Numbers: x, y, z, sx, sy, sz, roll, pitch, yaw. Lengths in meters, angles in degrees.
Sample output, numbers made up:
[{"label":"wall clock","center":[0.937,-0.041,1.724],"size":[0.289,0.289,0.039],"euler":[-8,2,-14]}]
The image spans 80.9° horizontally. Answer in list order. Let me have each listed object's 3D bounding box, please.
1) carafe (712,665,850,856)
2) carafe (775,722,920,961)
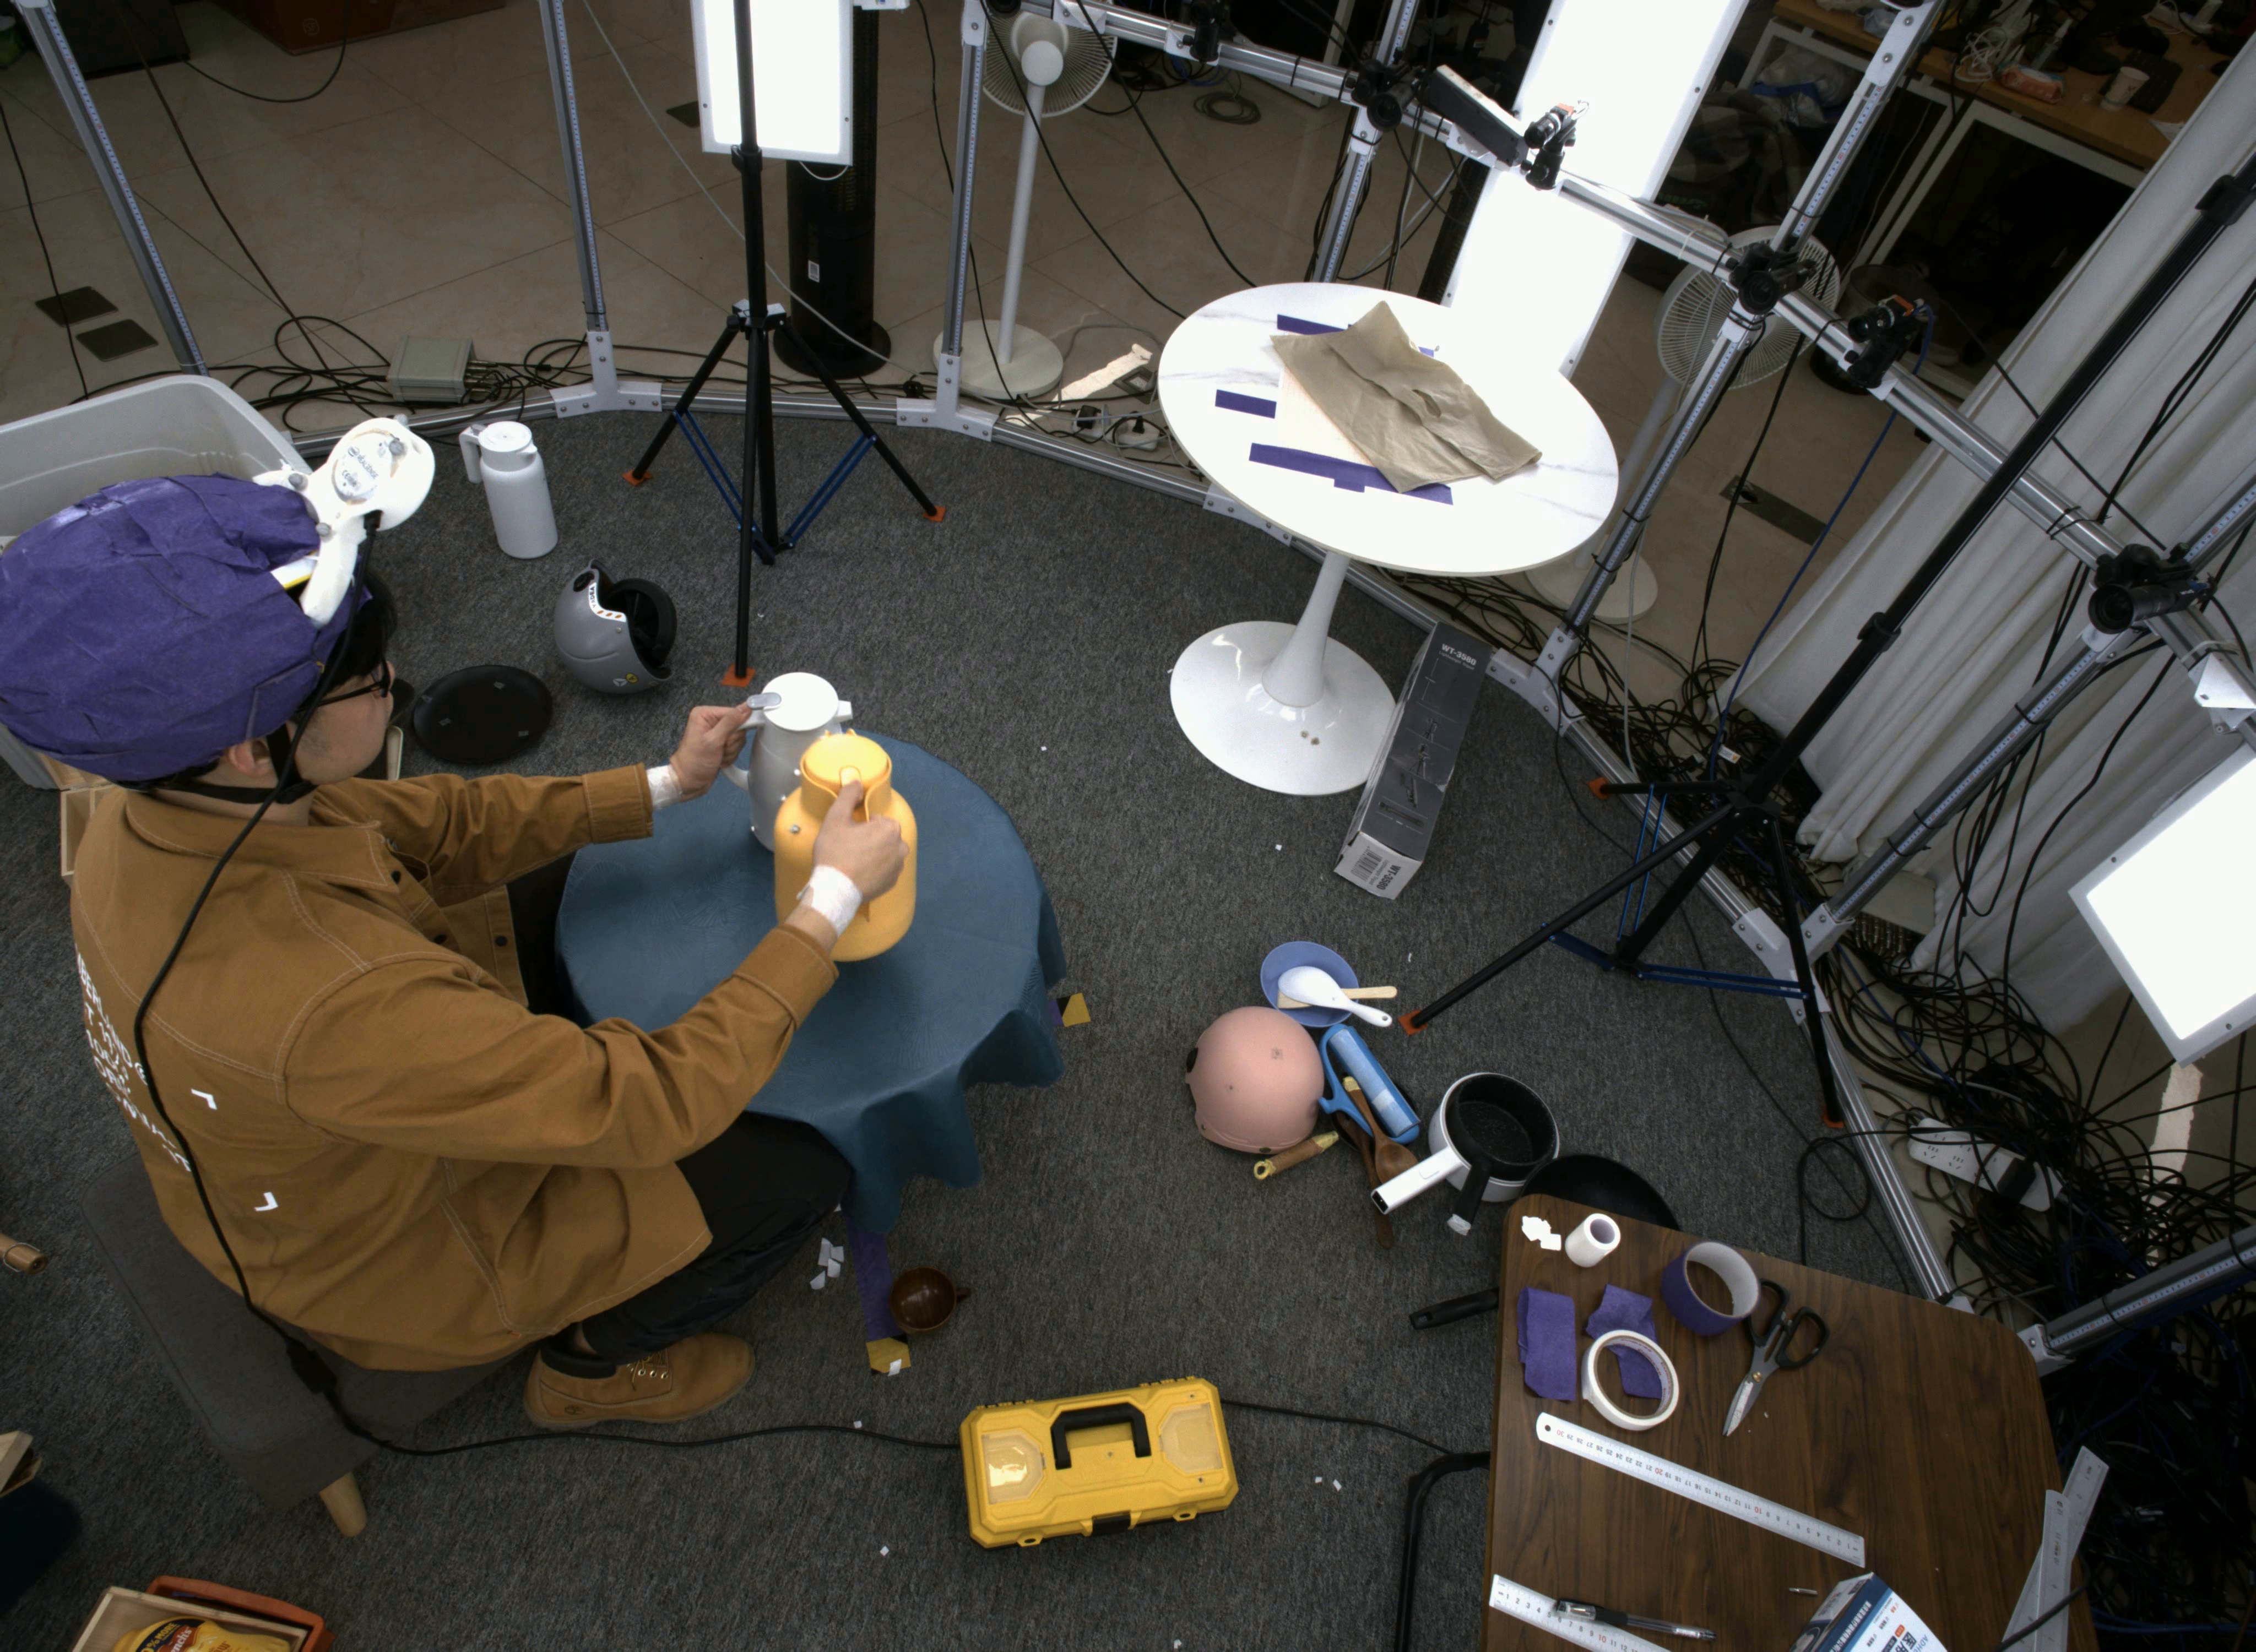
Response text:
[{"label":"carafe","center":[-0.431,-0.083,1.618],"size":[0.168,0.254,0.129],"euler":[-4,55,-15]},{"label":"carafe","center":[-0.316,0.028,1.461],"size":[0.163,0.268,0.196],"euler":[-6,42,-14]}]
